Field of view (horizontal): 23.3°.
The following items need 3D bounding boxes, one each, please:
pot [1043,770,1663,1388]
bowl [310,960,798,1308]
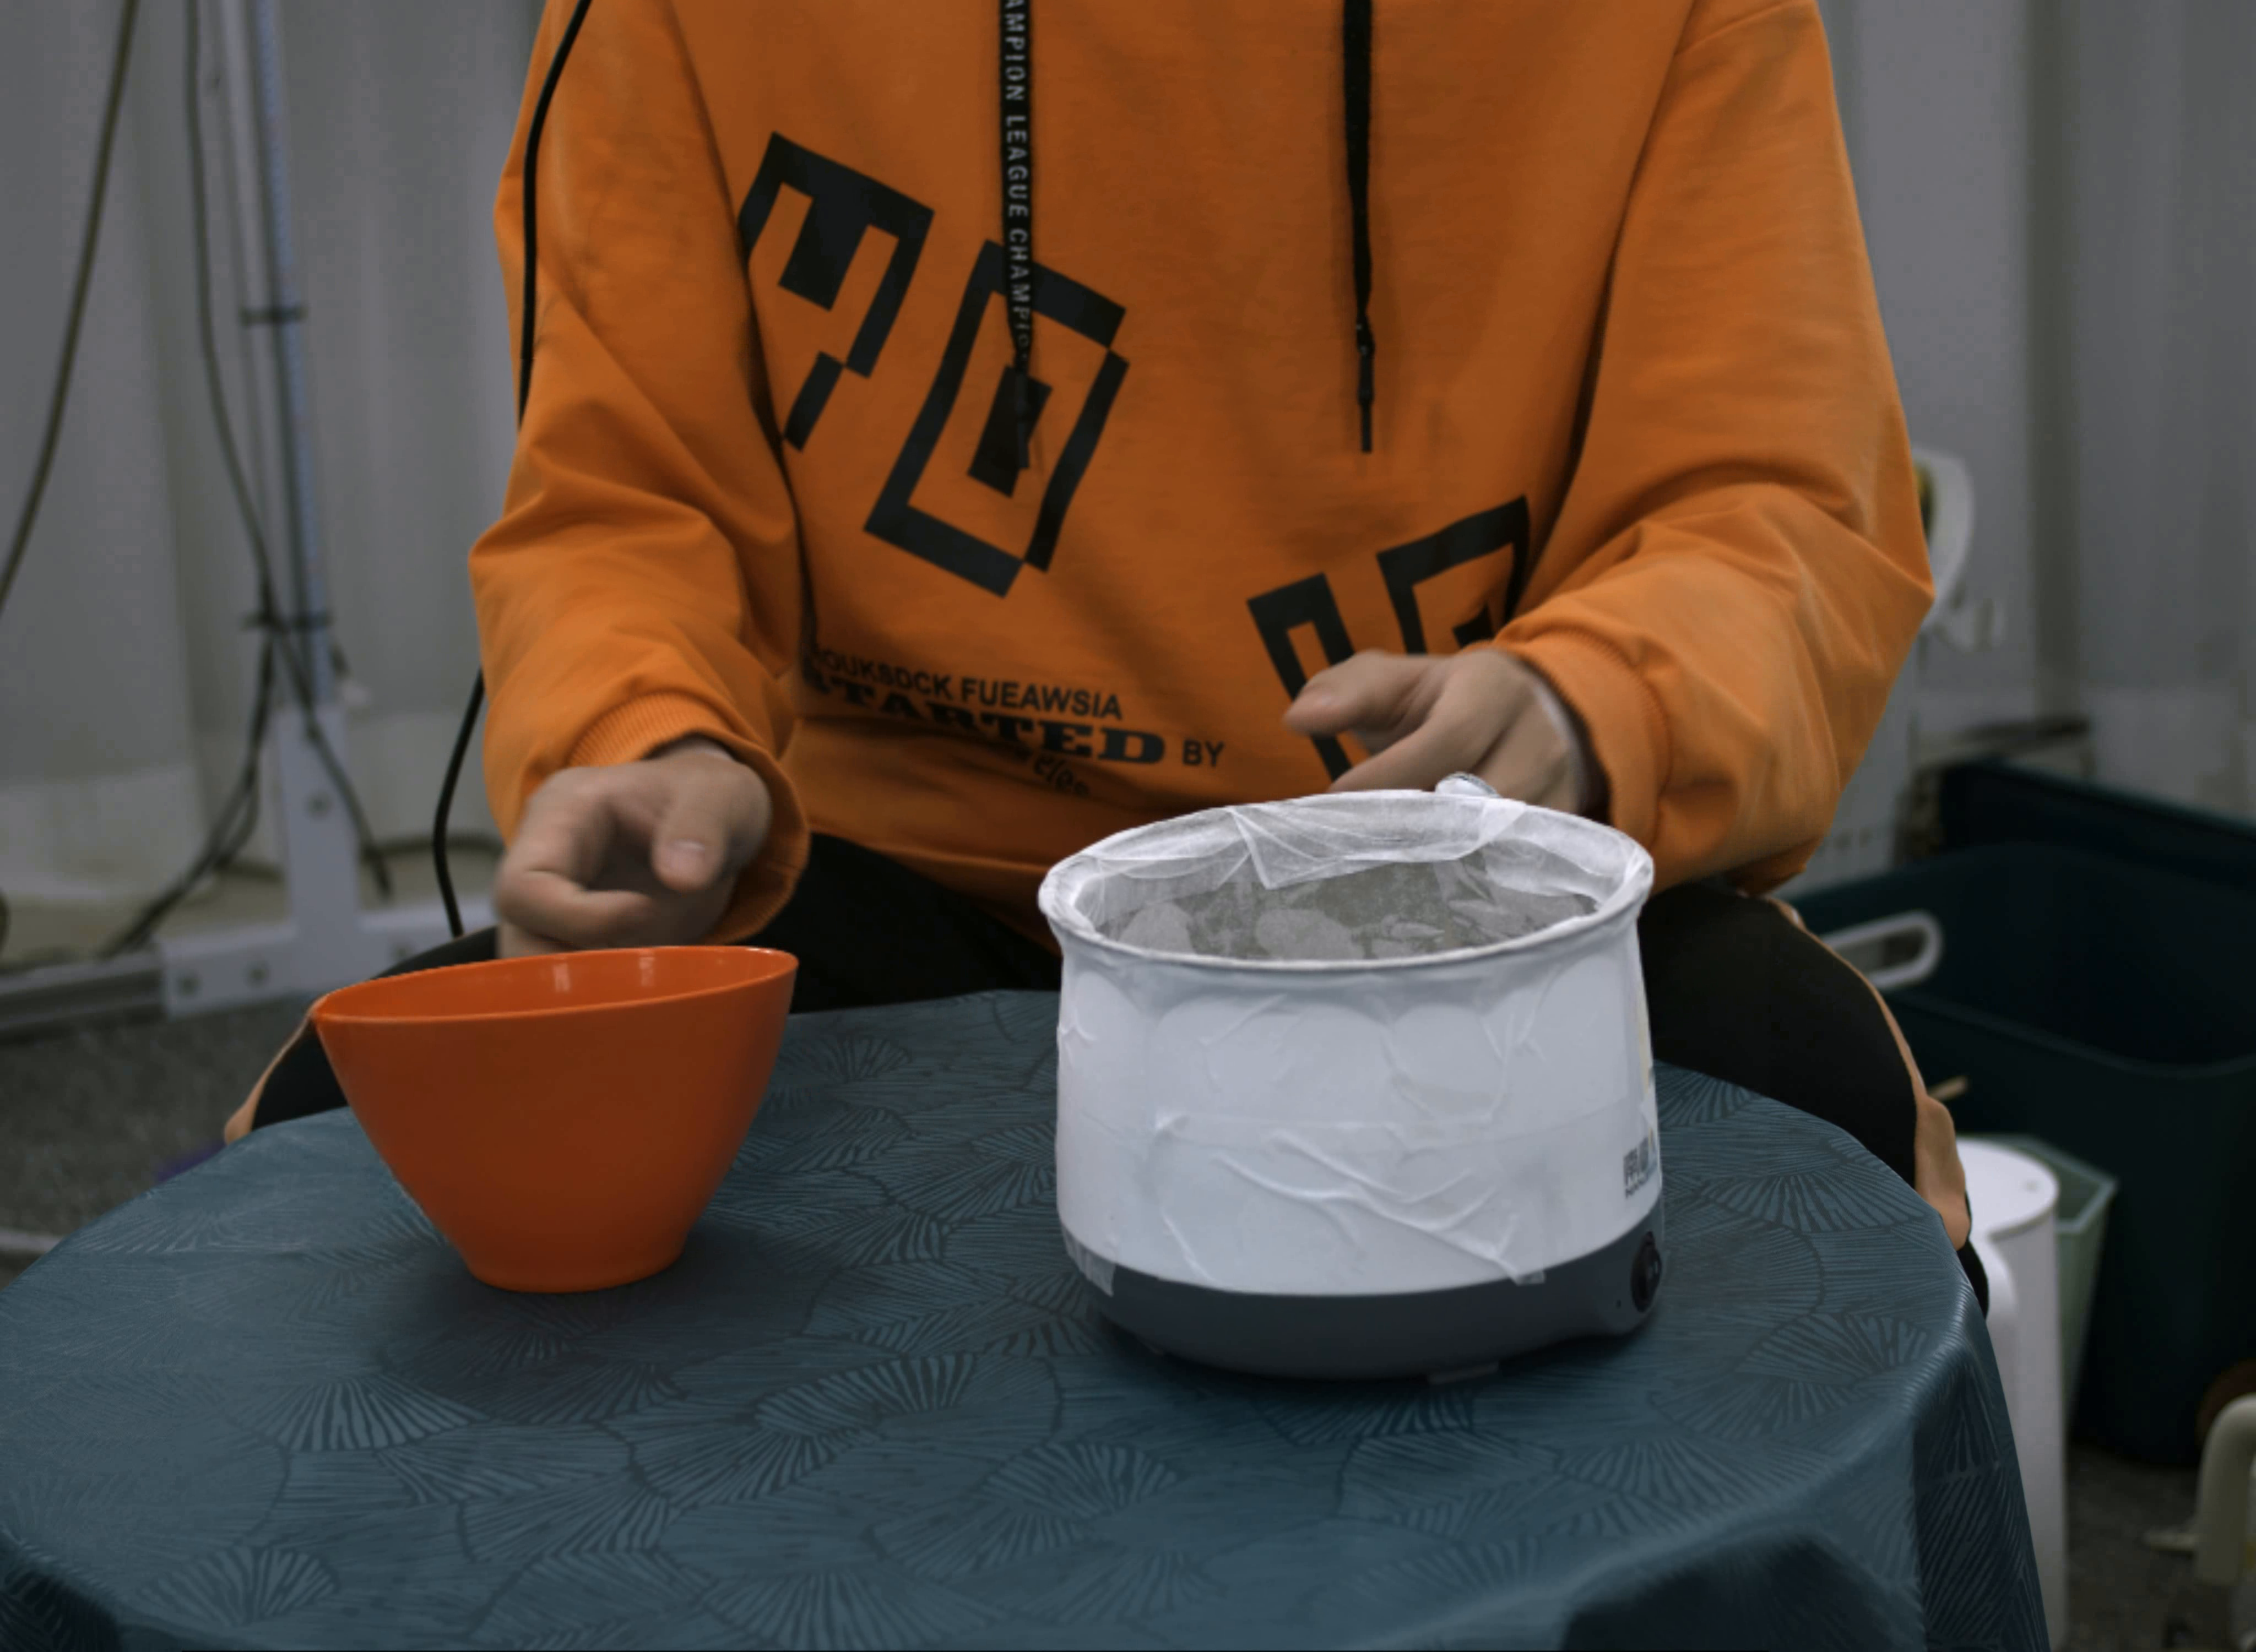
[{"bbox_3d":[0.076,0.068,1.611,0.179,0.136,0.234,3,16,21],"label":"pot"},{"bbox_3d":[-0.171,0.090,1.659,0.147,0.104,0.149,-3,13,0],"label":"bowl"}]
